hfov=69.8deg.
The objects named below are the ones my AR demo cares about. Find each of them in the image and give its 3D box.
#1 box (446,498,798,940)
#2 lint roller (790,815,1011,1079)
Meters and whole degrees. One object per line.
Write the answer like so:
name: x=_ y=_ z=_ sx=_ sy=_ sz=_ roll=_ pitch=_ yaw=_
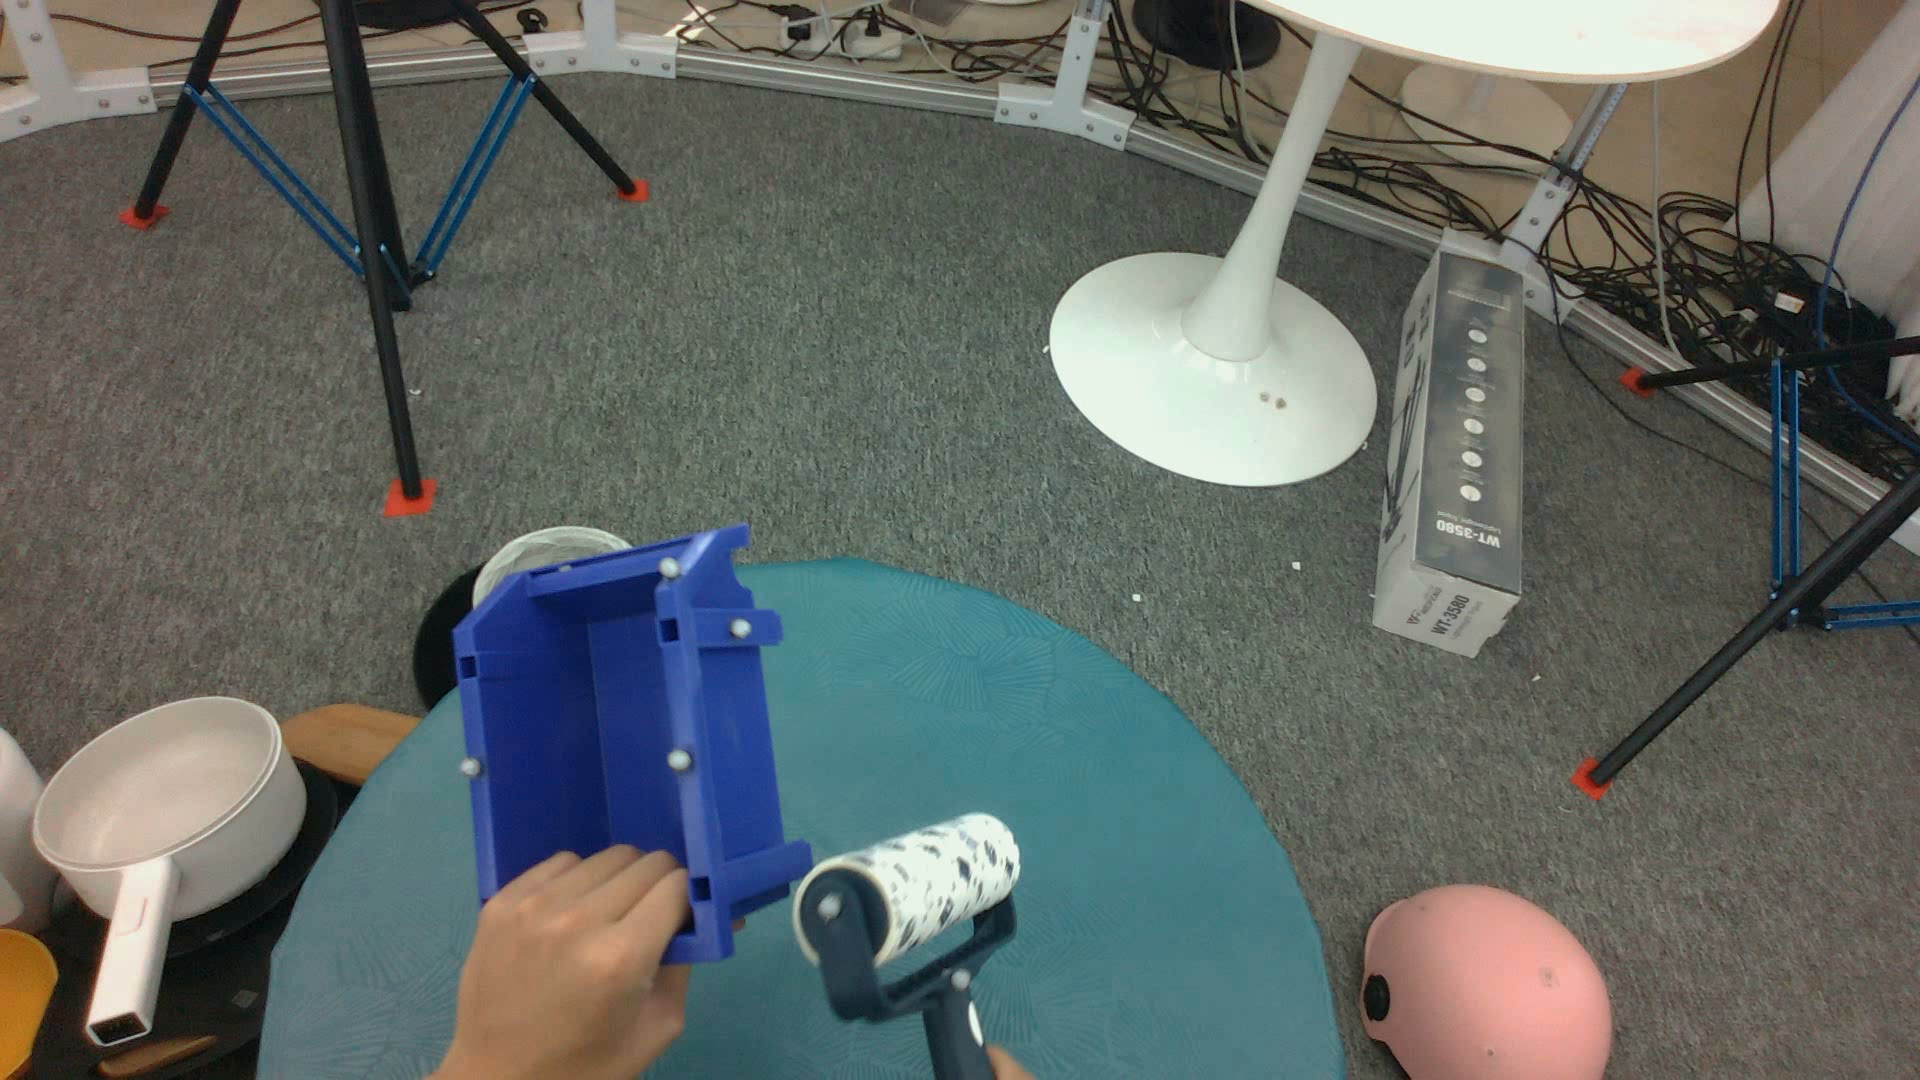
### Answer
box: x=-0.154 y=0.078 z=0.621 sx=0.124 sy=0.082 sz=0.179 roll=-10 pitch=86 yaw=22
lint roller: x=0.006 y=0.251 z=0.613 sx=0.050 sy=0.176 sz=0.247 roll=-21 pitch=79 yaw=17
